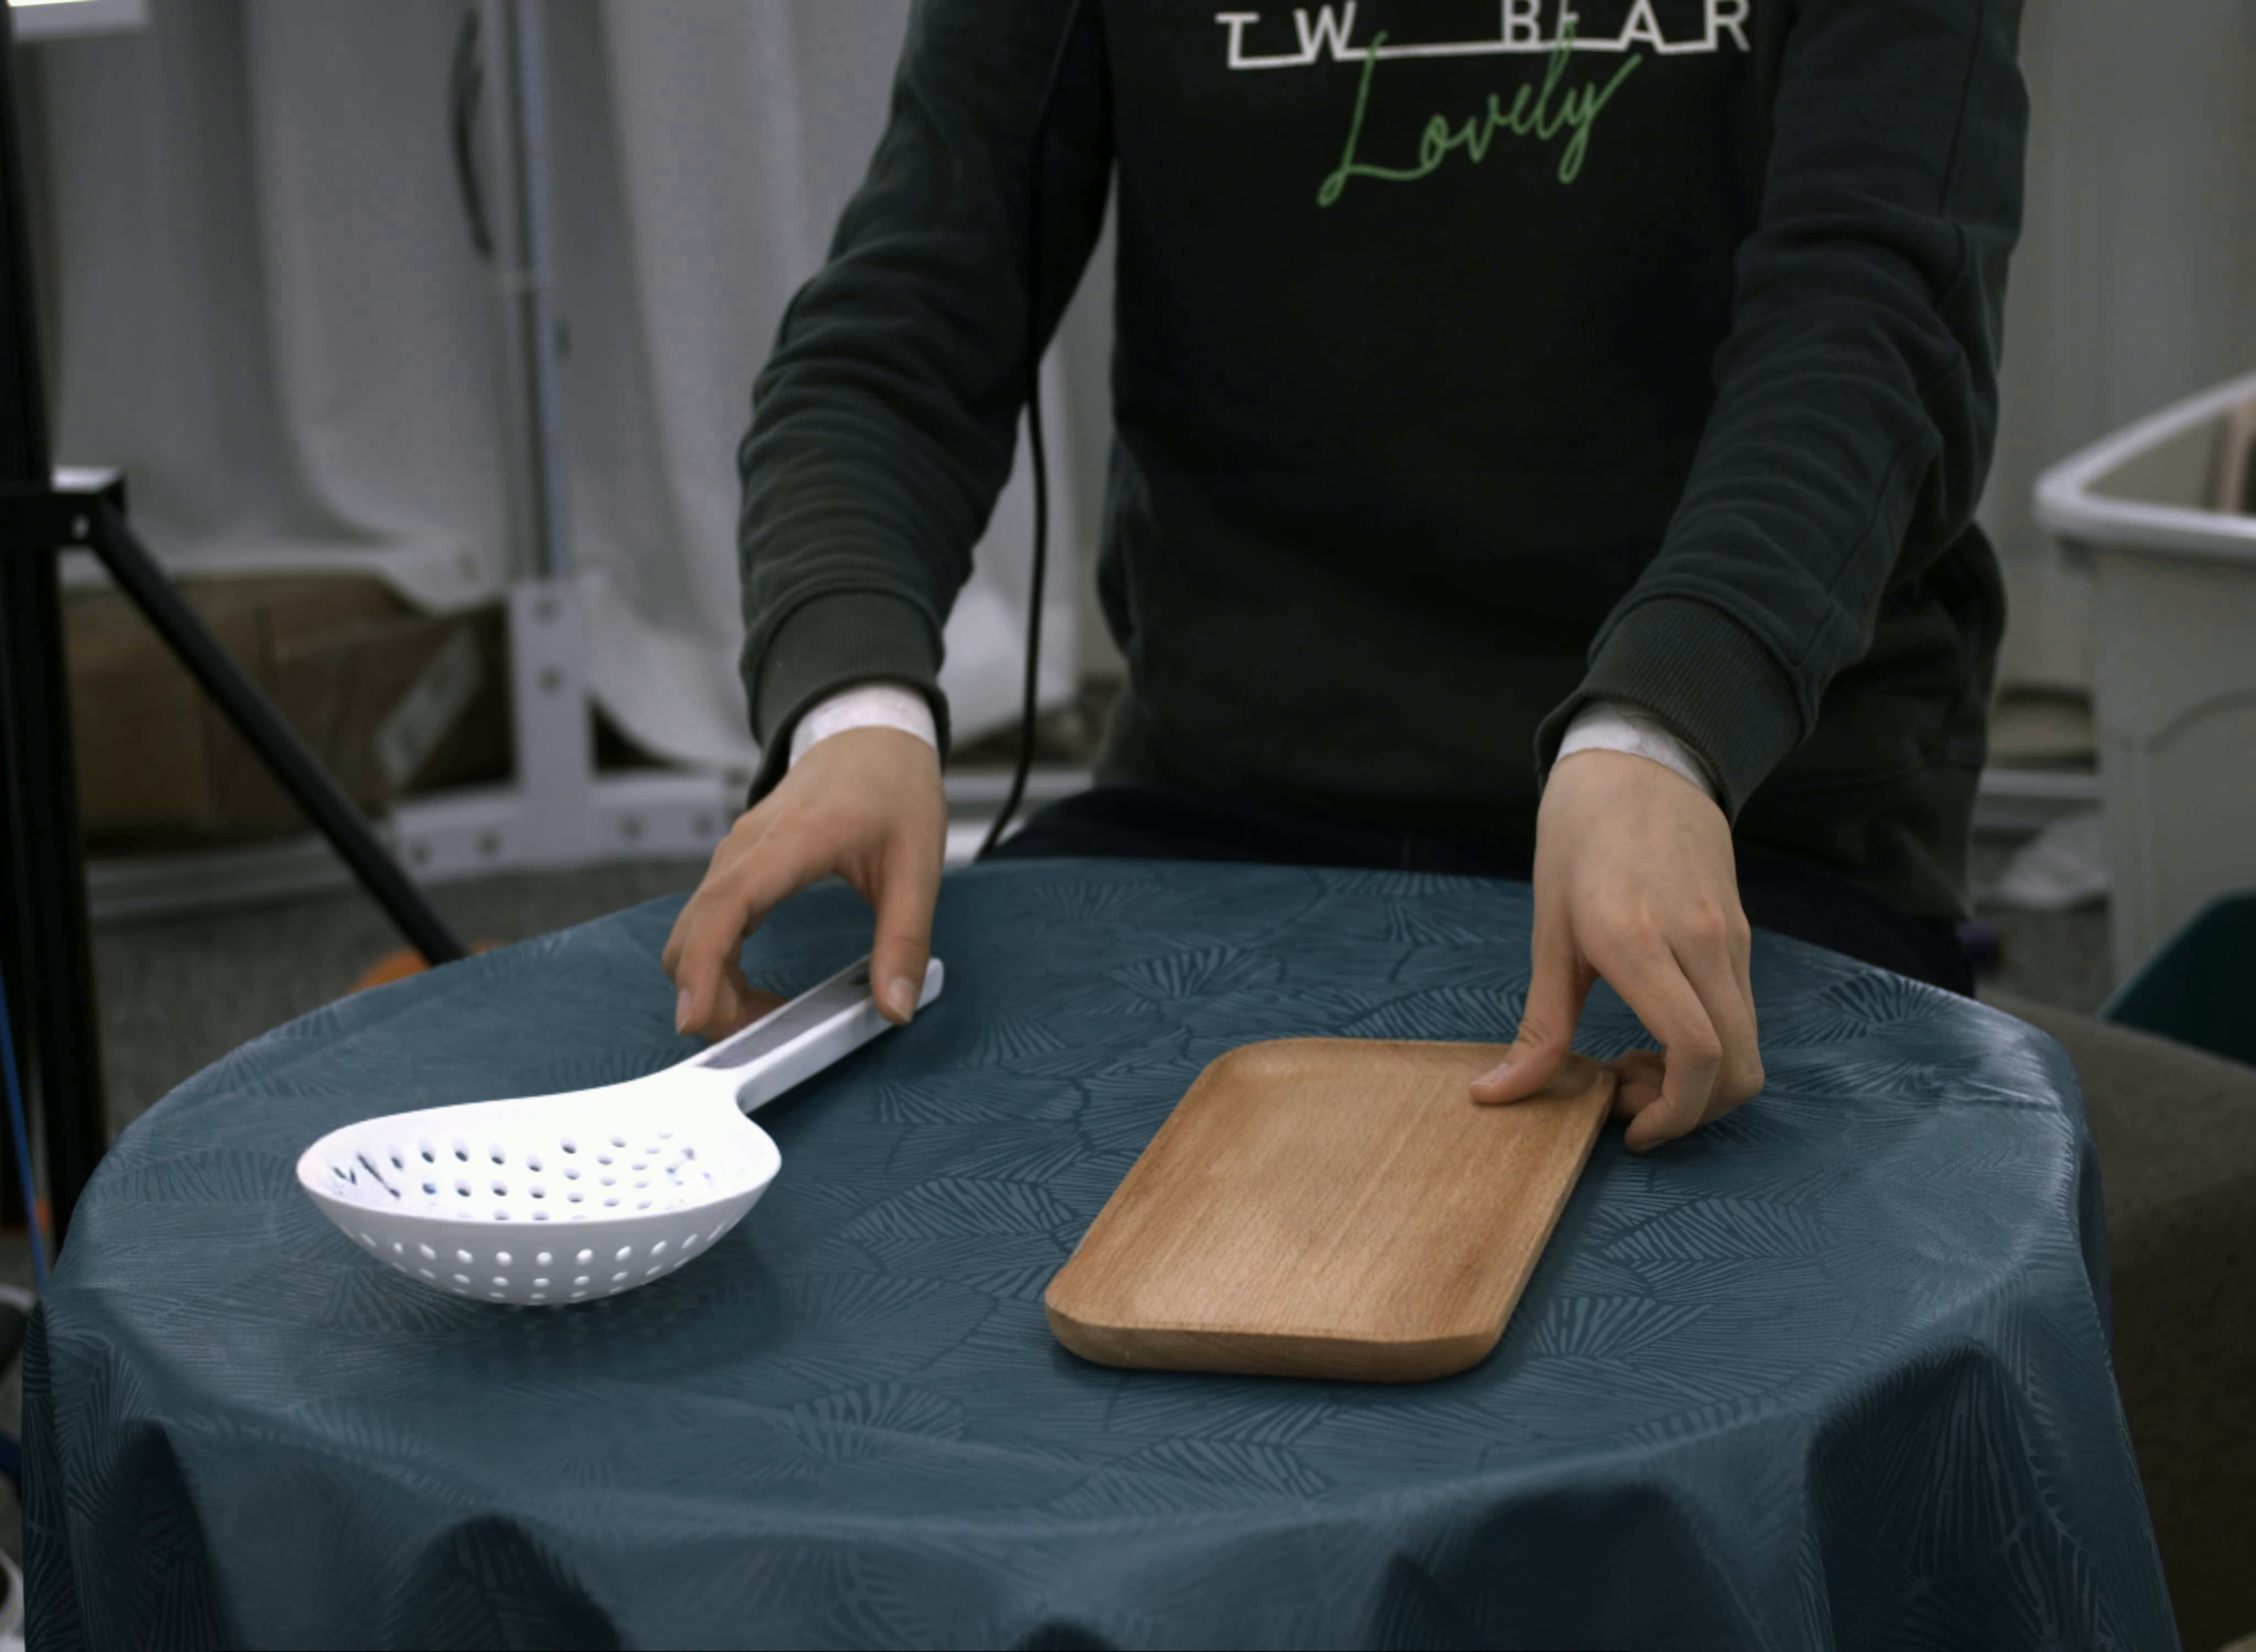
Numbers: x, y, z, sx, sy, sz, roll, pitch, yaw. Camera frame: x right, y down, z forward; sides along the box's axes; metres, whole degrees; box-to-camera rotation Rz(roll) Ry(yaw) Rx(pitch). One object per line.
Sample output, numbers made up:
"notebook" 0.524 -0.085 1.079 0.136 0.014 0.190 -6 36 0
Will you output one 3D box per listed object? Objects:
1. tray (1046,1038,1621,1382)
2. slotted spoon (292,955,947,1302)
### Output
"tray" 0.063 0.107 1.520 0.131 0.023 0.248 3 16 15
"slotted spoon" -0.130 0.081 1.592 0.137 0.046 0.345 5 17 19
